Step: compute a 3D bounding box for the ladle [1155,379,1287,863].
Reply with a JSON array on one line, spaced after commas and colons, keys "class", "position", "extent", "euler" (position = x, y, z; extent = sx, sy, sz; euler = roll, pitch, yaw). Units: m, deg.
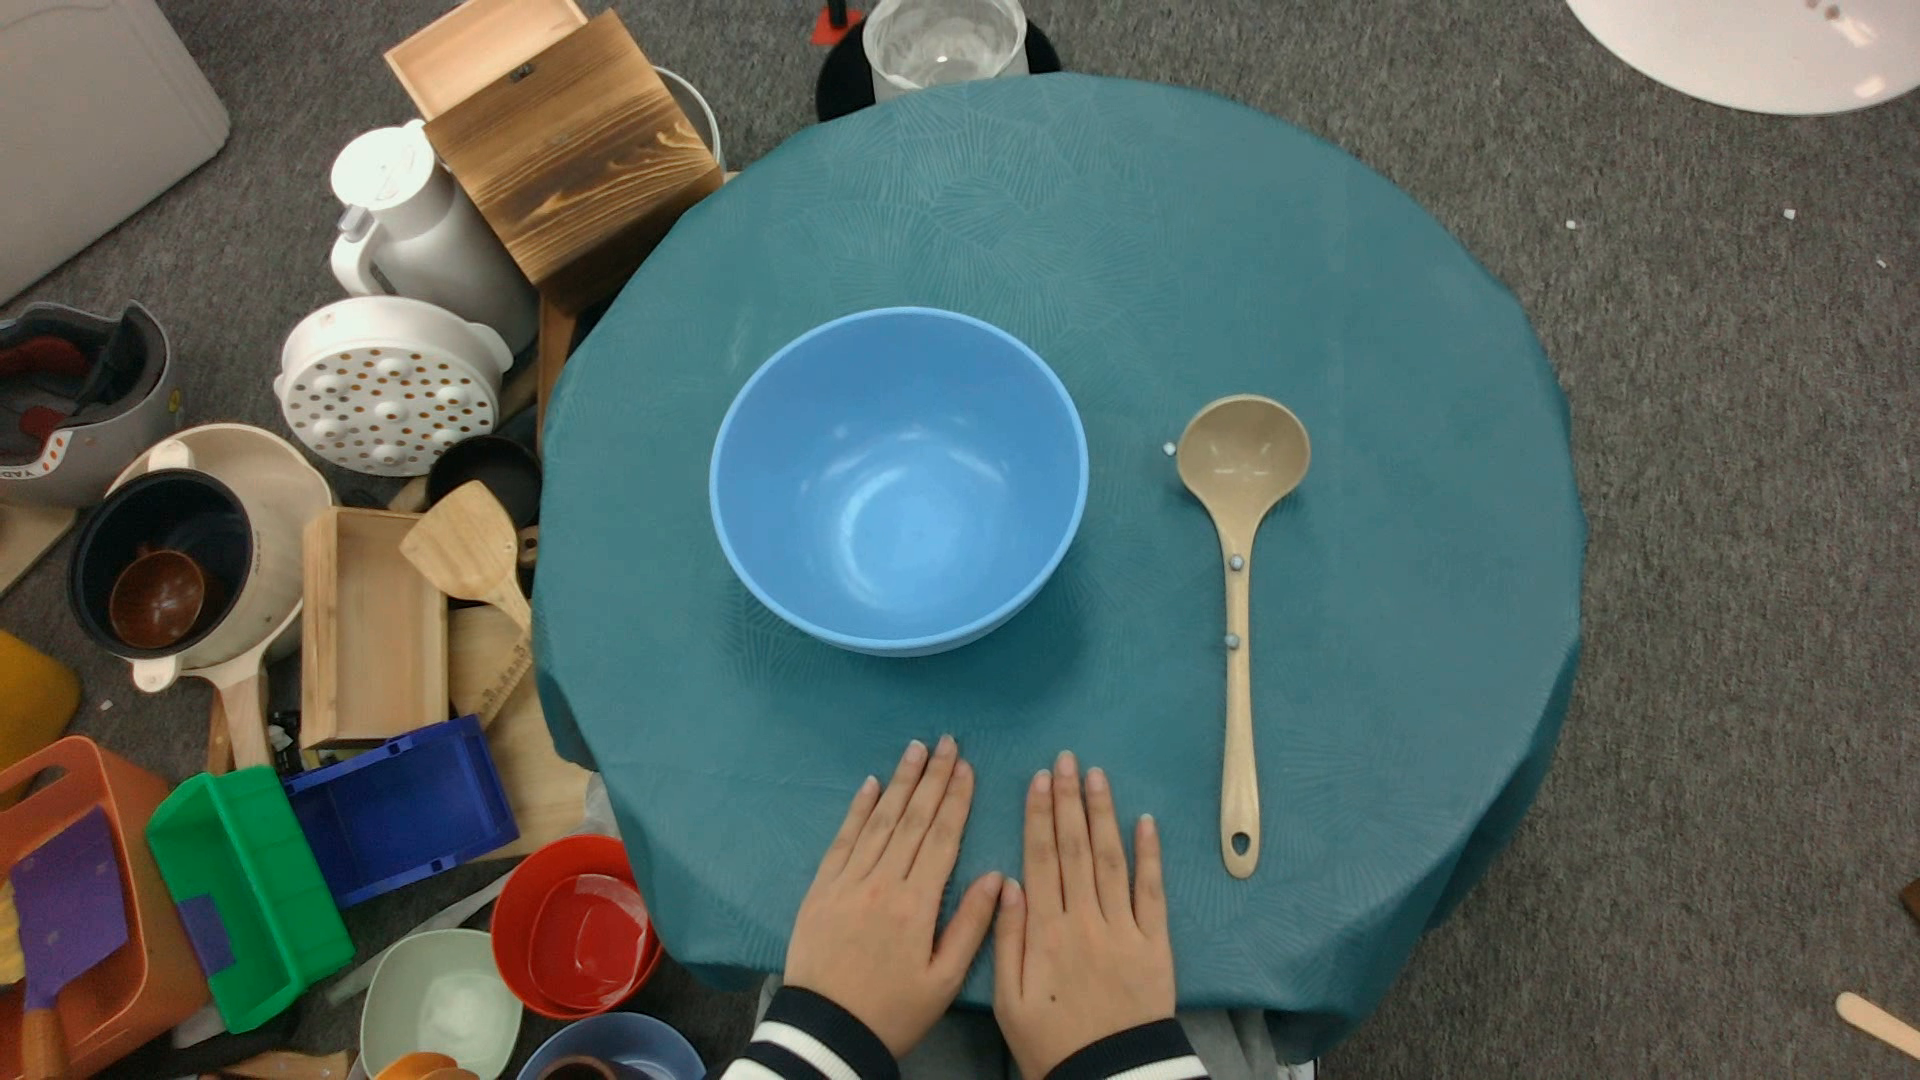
[{"class": "ladle", "position": [0.141, 0.035, 0.723], "extent": [0.072, 0.072, 0.255], "euler": [0, 66, 4]}]

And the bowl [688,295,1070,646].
[{"class": "bowl", "position": [-0.041, -0.025, 0.749], "extent": [0.196, 0.095, 0.197], "euler": [0, 67, 0]}]
